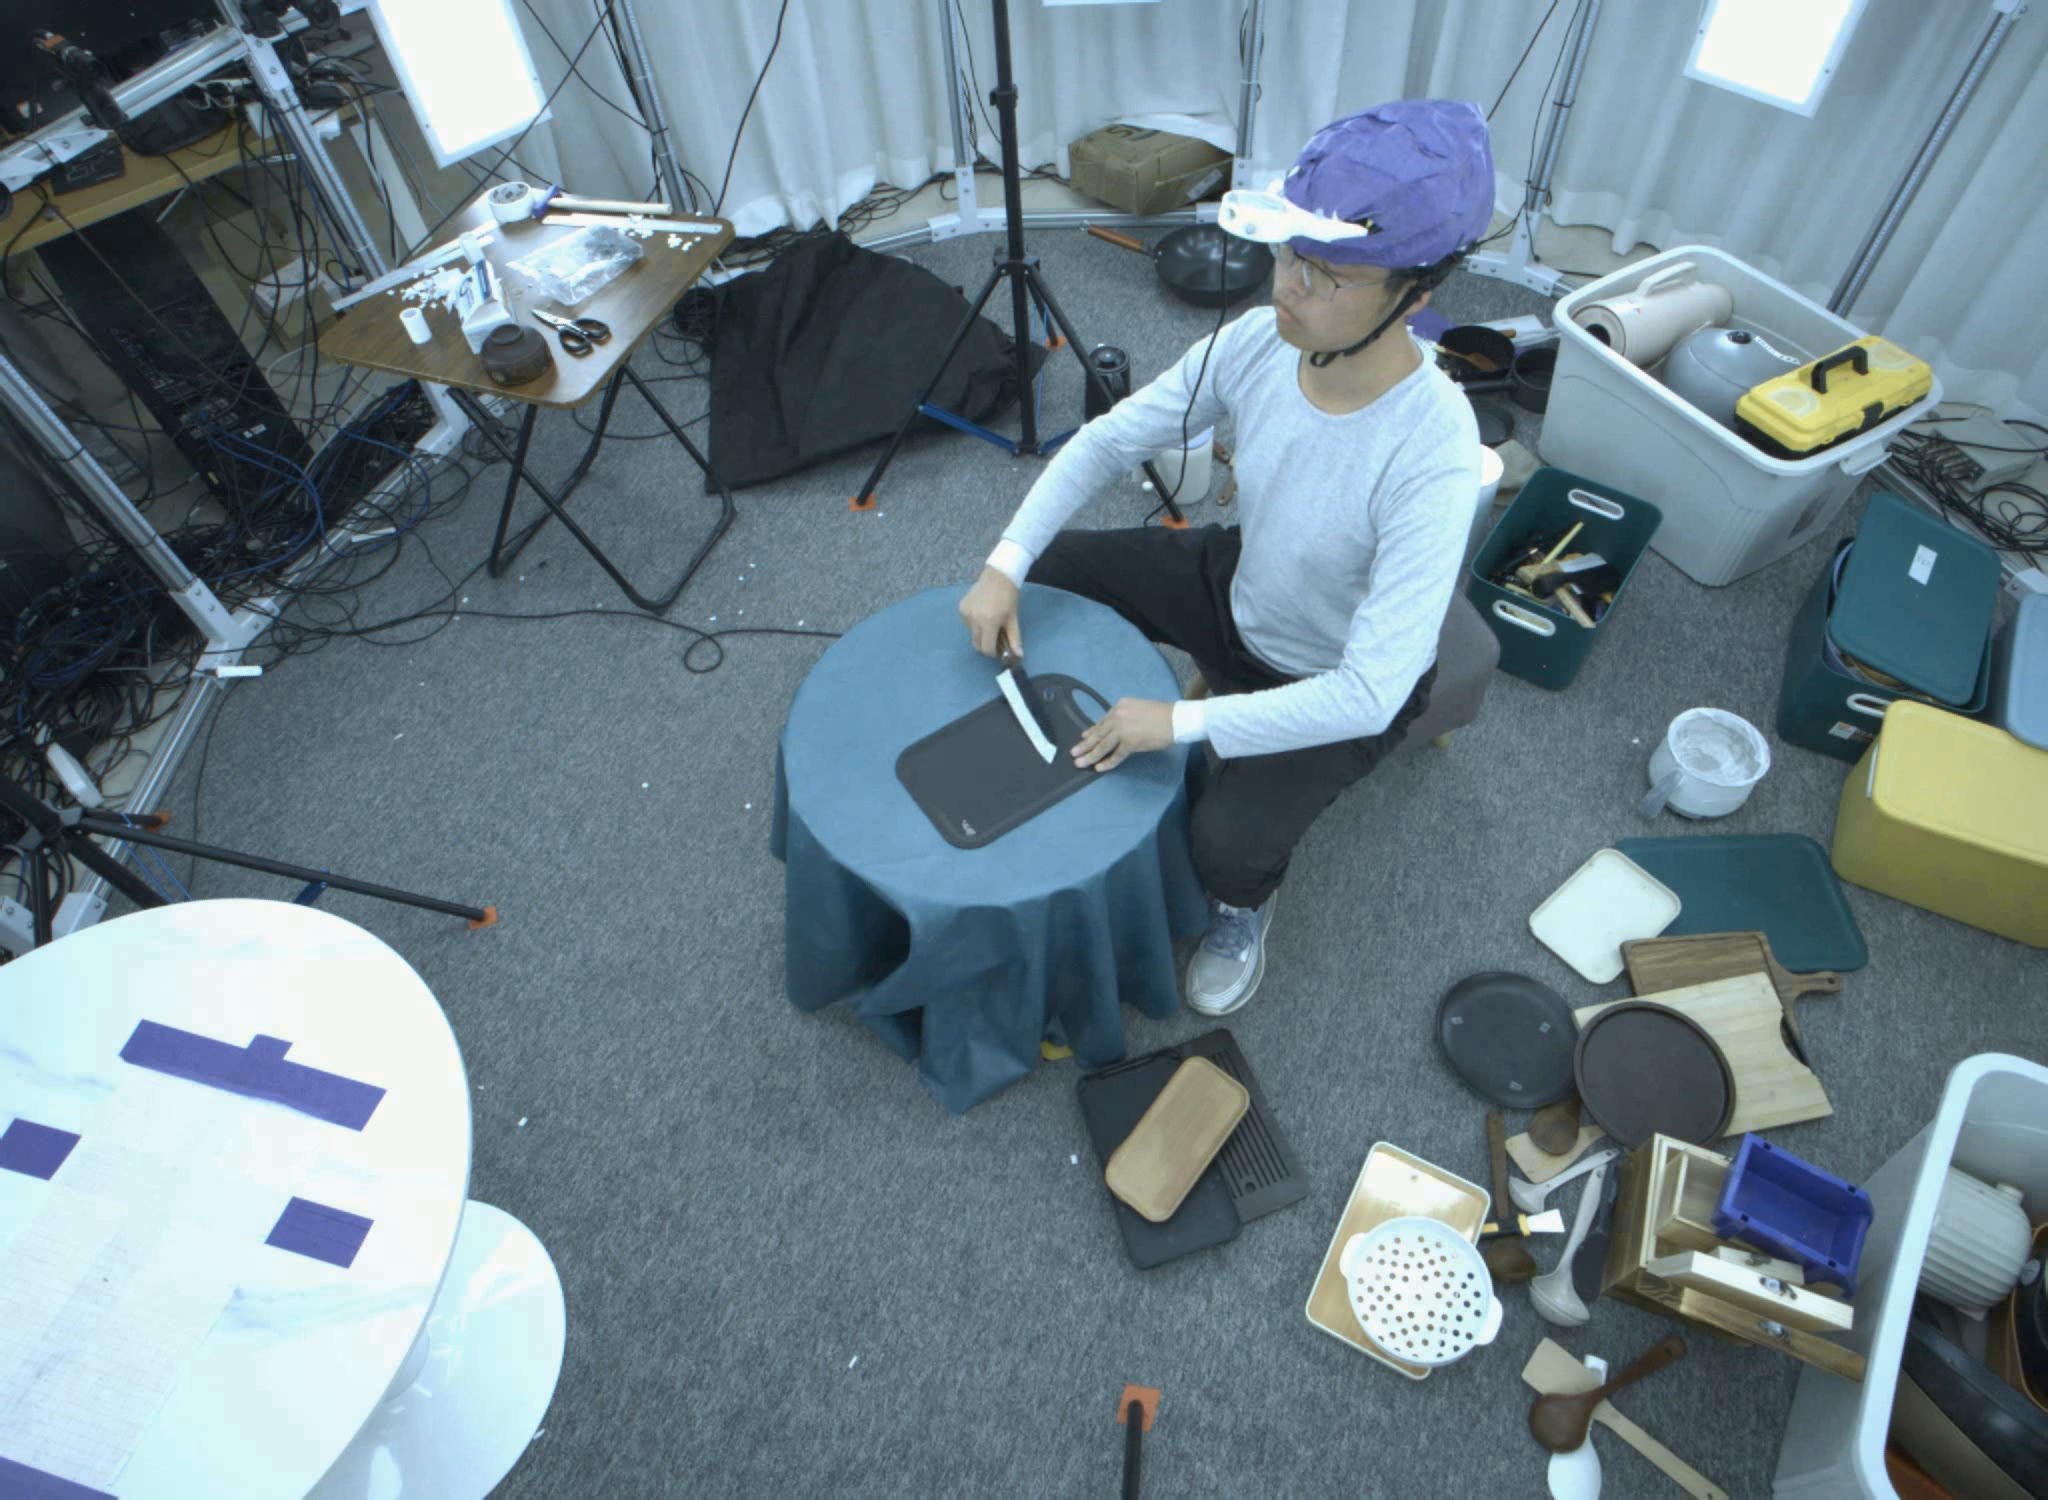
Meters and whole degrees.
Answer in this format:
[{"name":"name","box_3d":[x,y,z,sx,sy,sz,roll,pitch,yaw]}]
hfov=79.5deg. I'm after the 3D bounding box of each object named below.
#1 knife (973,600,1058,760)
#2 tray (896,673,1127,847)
[{"name":"knife","box_3d":[-0.013,-0.106,1.828,0.050,0.020,0.285,-32,66,17]},{"name":"tray","box_3d":[-0.012,0.003,1.790,0.328,0.010,0.207,-29,59,-18]}]
